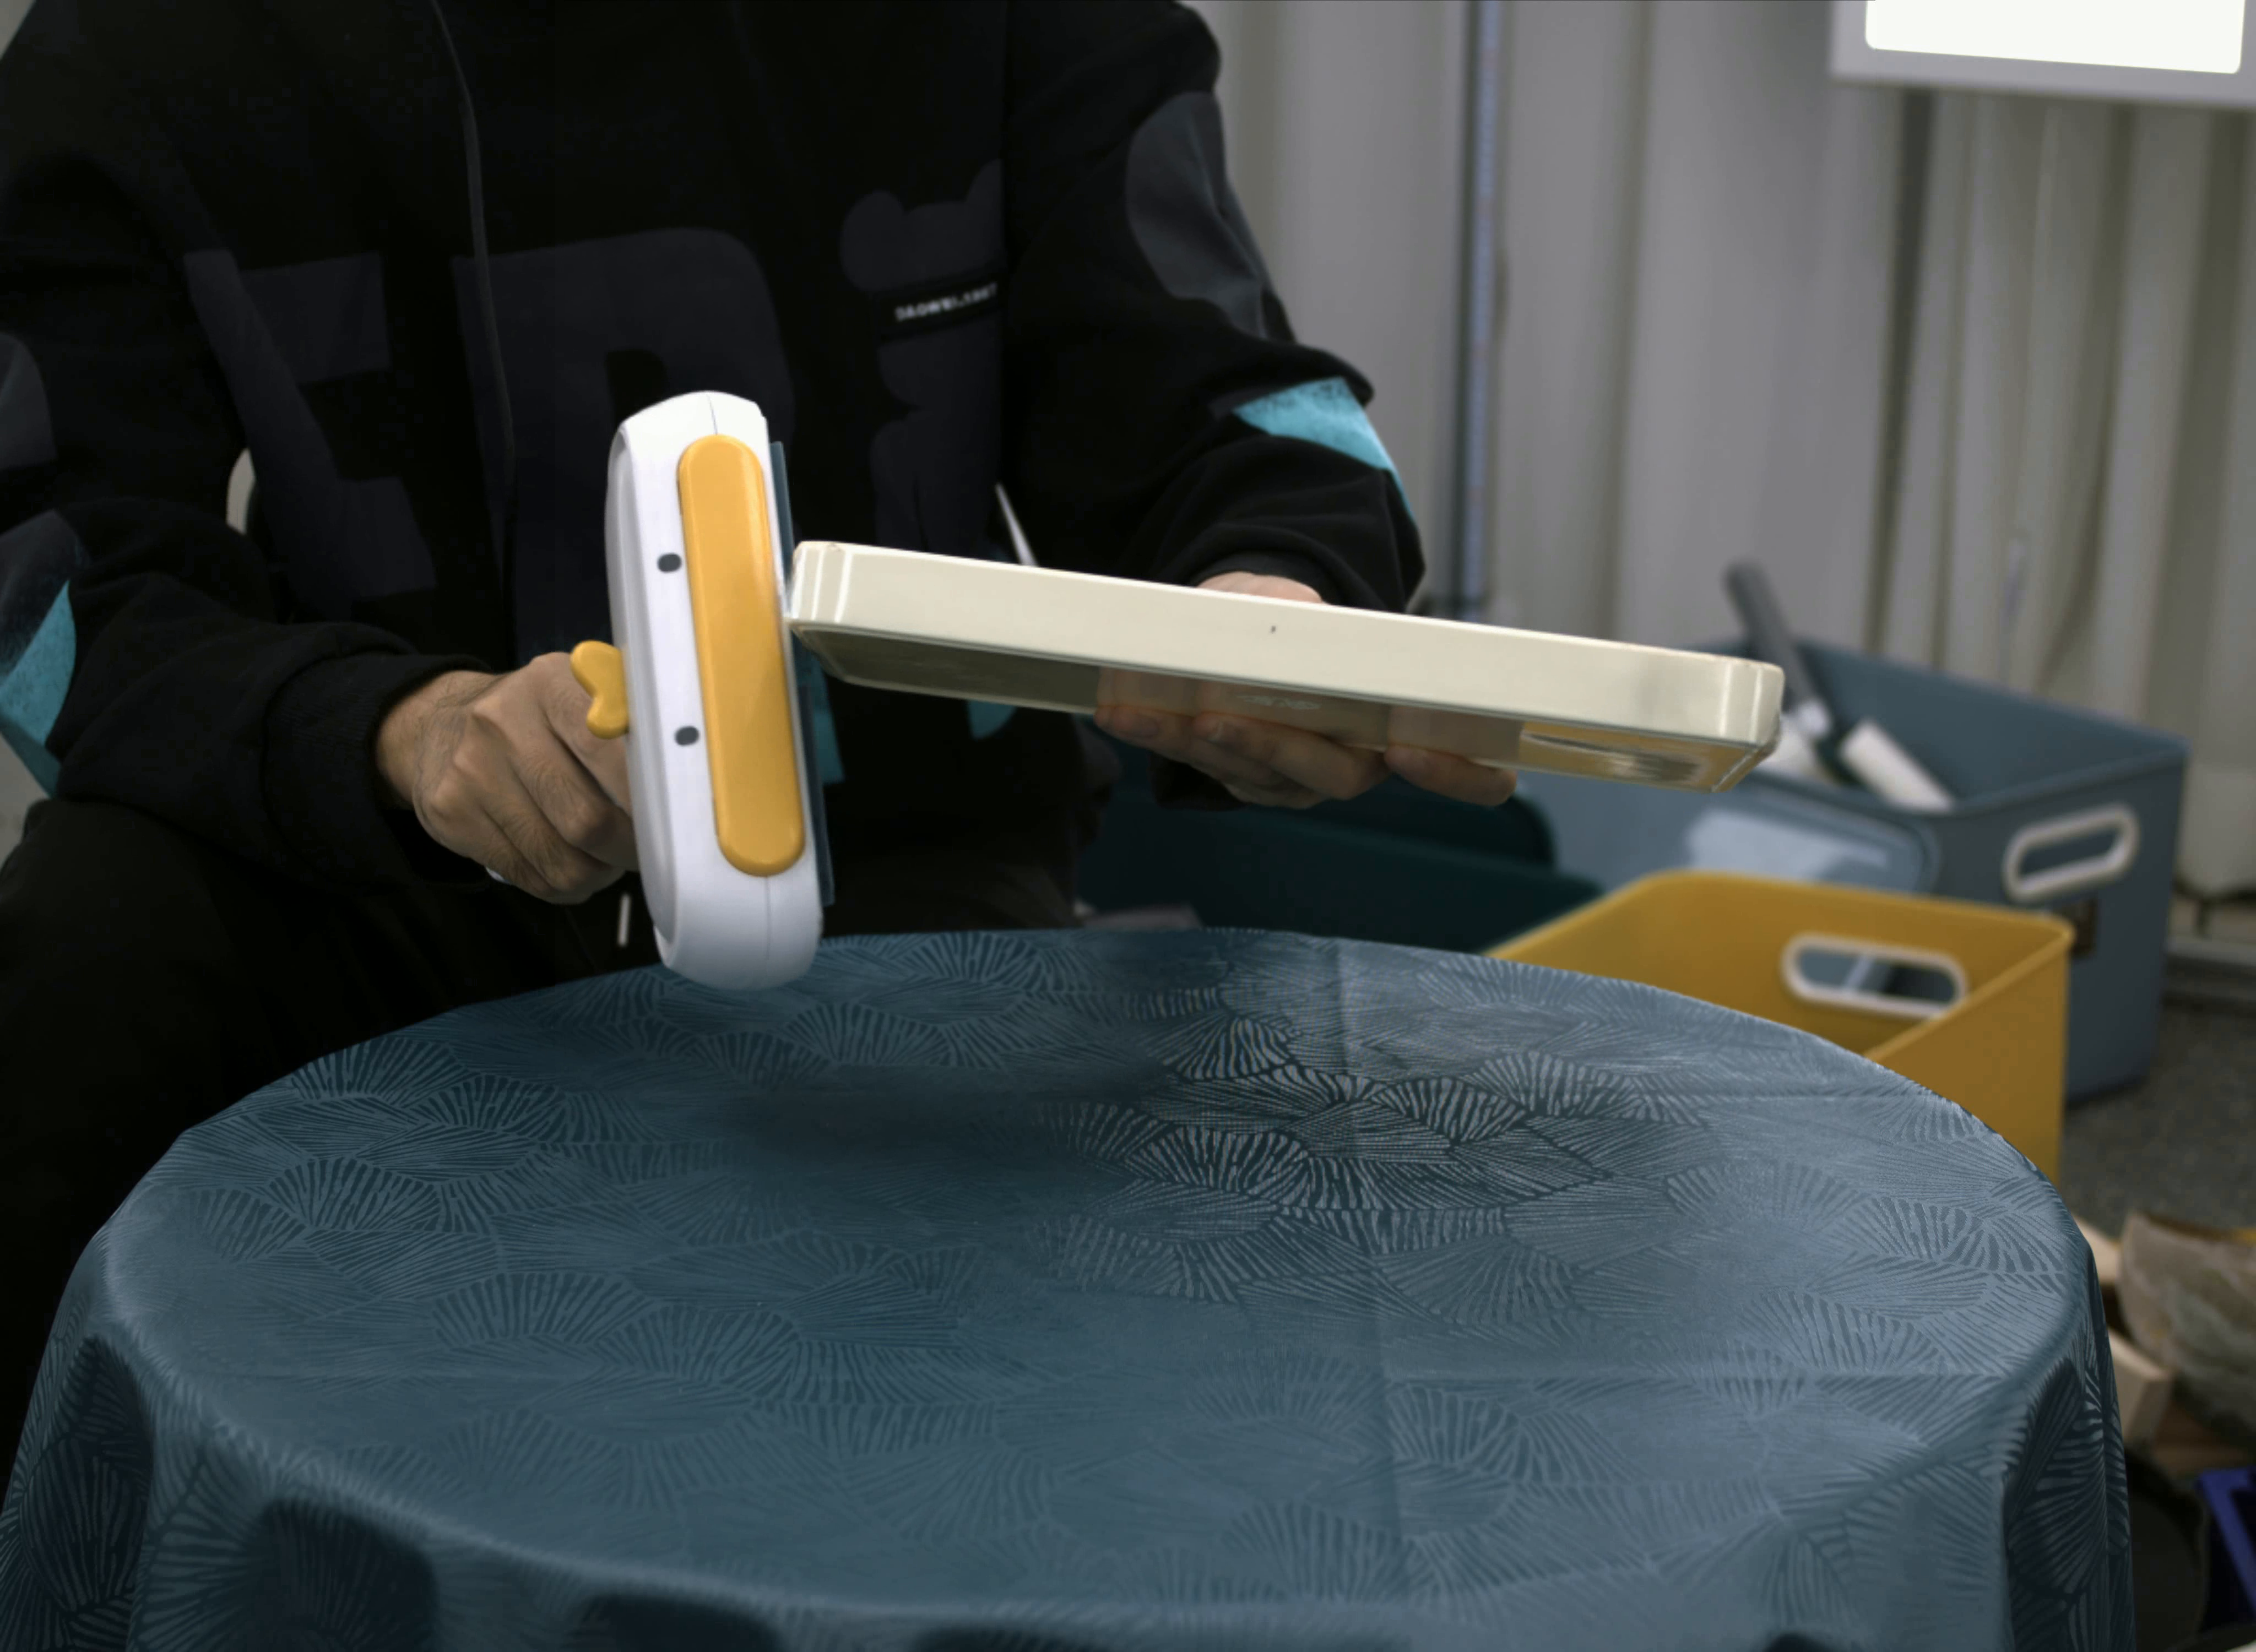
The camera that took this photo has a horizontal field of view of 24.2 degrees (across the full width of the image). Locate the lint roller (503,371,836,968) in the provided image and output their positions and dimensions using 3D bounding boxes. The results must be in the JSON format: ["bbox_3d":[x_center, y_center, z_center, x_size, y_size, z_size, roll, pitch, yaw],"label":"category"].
[{"bbox_3d":[-0.154,-0.026,1.697,0.074,0.192,0.193,-6,-20,-22],"label":"lint roller"}]

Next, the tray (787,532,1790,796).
[{"bbox_3d":[0.049,-0.048,1.640,0.299,0.027,0.192,7,-5,1],"label":"tray"}]
